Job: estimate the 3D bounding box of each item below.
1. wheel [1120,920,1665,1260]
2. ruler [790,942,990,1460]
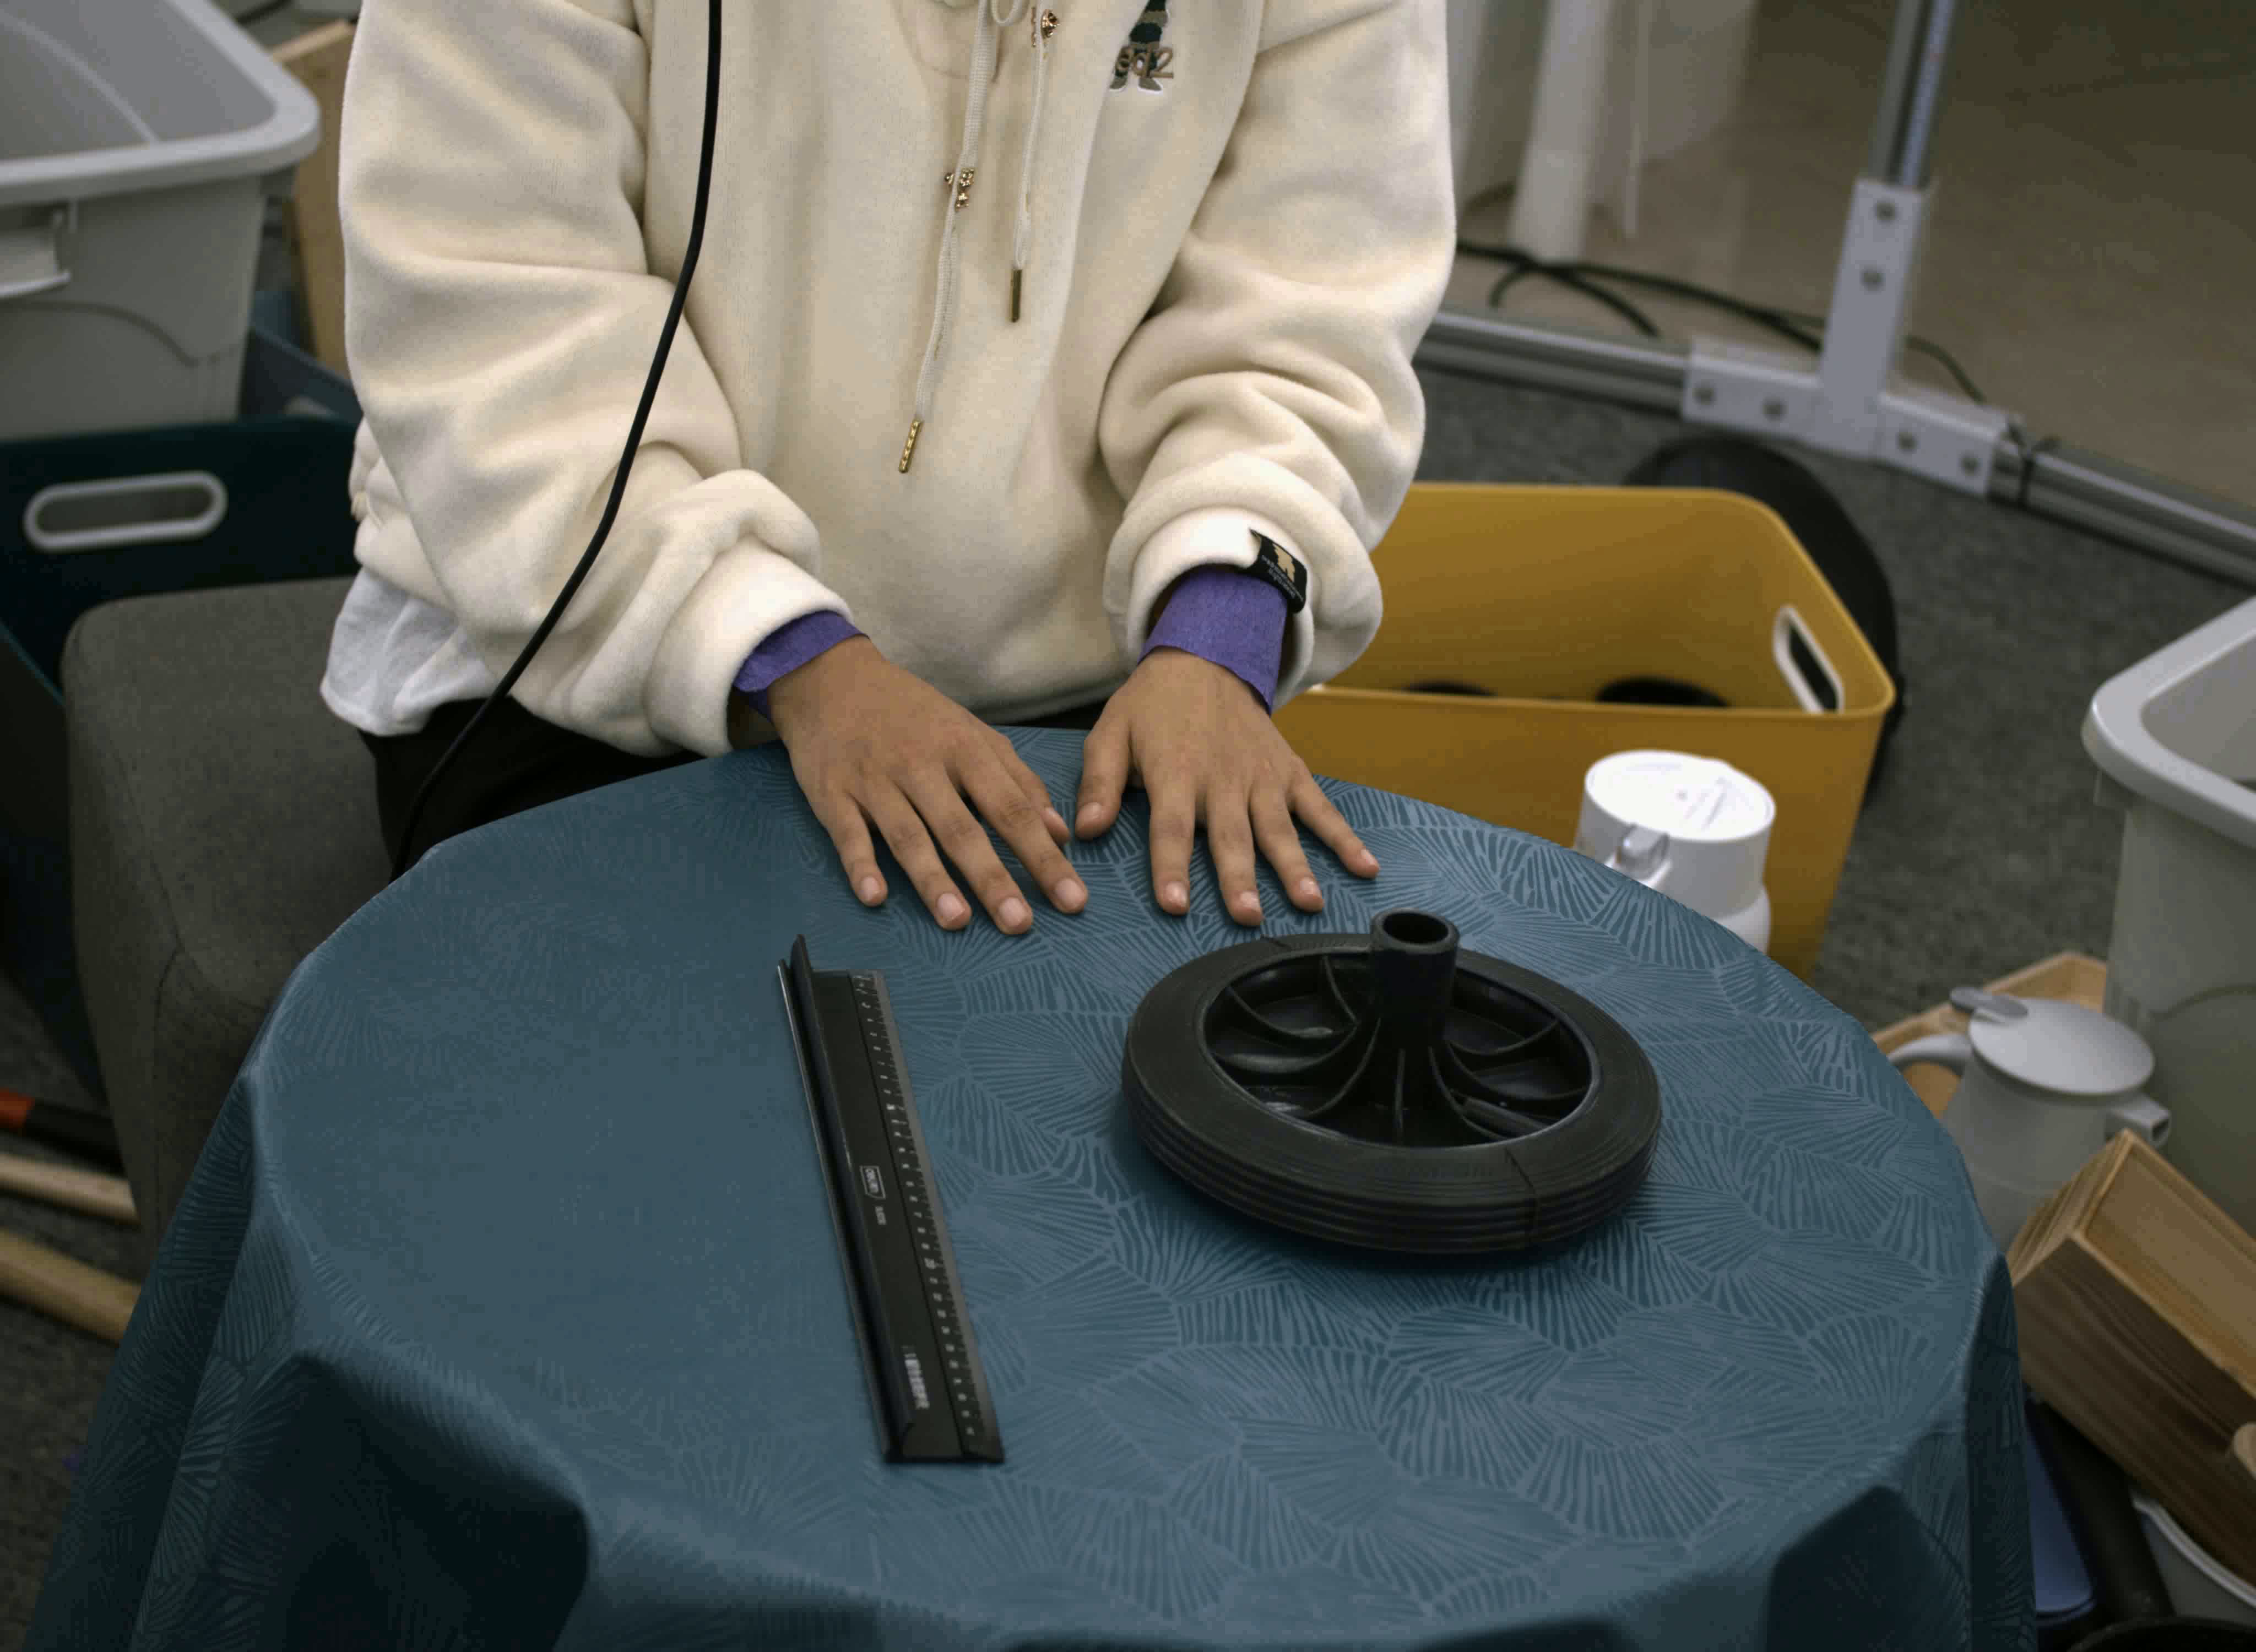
[{"bbox_3d":[0.094,0.074,1.836,0.189,0.079,0.188,9,27,5],"label":"wheel"},{"bbox_3d":[-0.081,0.119,1.776,0.039,0.017,0.315,5,26,-11],"label":"ruler"}]
